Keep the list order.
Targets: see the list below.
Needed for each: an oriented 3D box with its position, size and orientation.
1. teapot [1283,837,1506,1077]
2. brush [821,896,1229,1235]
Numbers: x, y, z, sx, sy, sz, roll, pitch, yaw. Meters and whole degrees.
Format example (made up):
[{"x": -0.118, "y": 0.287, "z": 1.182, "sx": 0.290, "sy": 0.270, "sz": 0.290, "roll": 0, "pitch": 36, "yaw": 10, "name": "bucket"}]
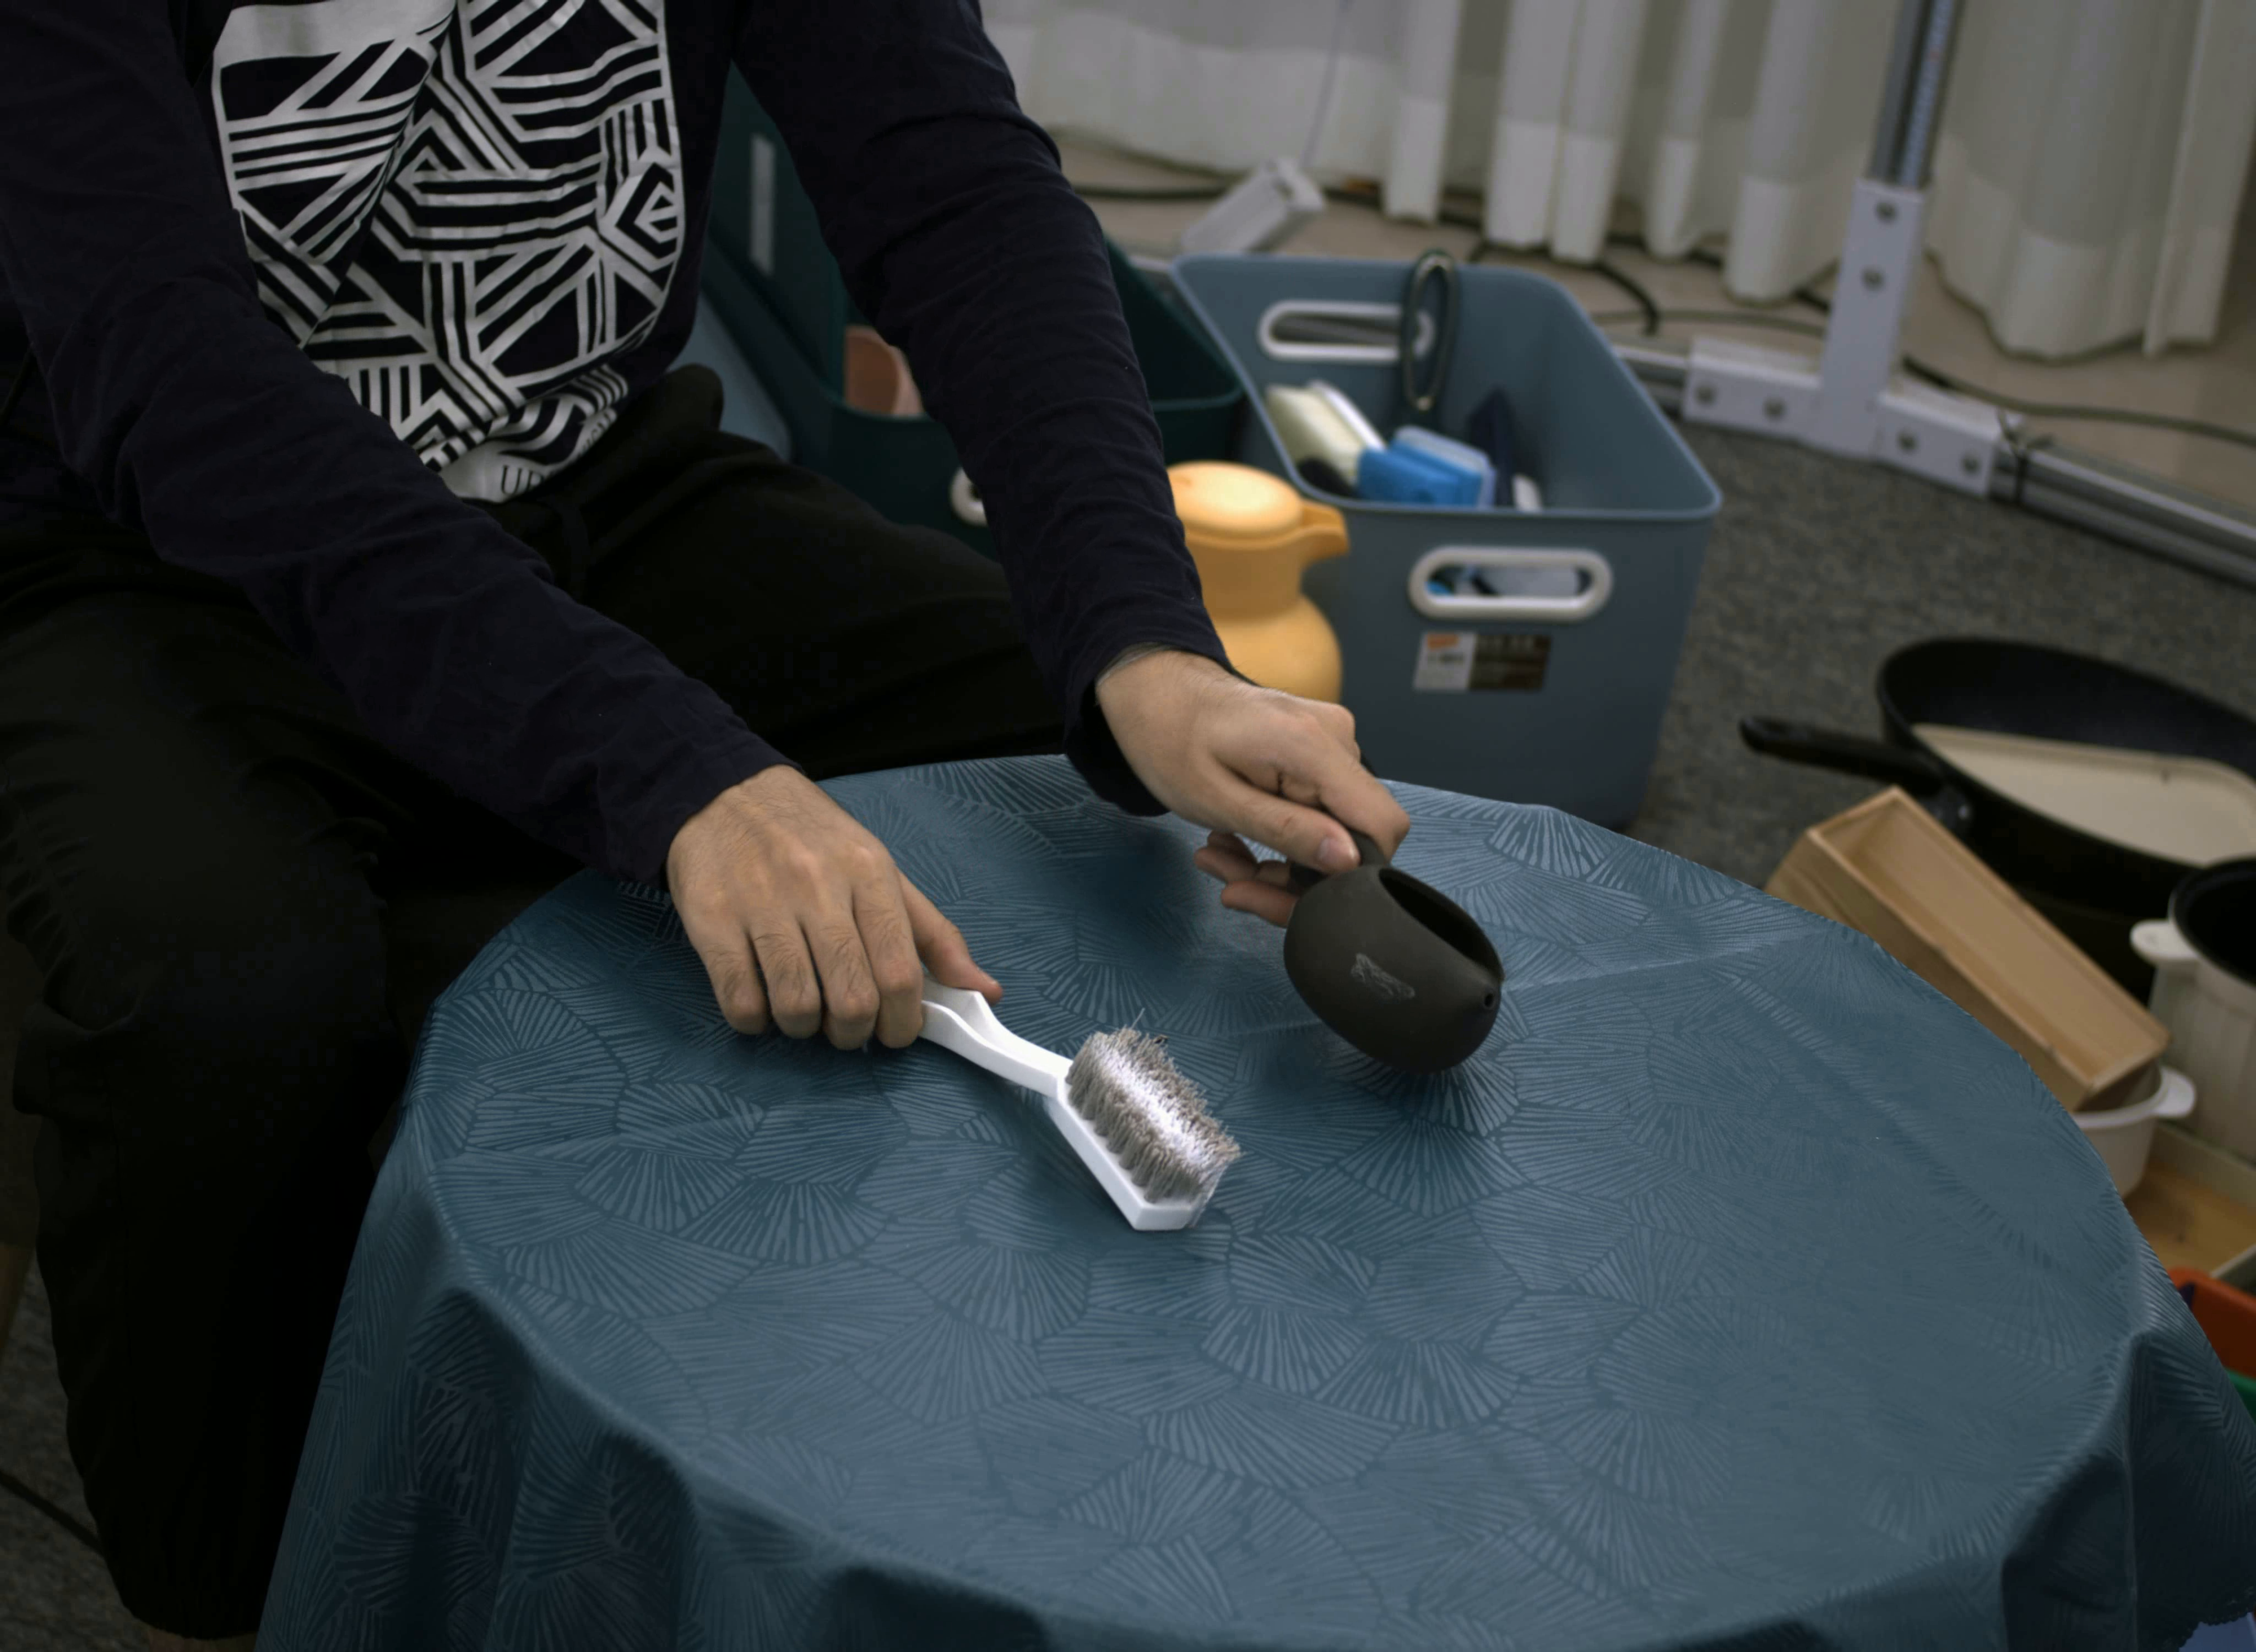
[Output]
[{"x": 0.091, "y": 0.044, "z": 1.897, "sx": 0.082, "sy": 0.053, "sz": 0.115, "roll": 18, "pitch": 24, "yaw": -42, "name": "teapot"}, {"x": -0.041, "y": 0.066, "z": 1.857, "sx": 0.034, "sy": 0.050, "sz": 0.246, "roll": -15, "pitch": 34, "yaw": -28, "name": "brush"}]
